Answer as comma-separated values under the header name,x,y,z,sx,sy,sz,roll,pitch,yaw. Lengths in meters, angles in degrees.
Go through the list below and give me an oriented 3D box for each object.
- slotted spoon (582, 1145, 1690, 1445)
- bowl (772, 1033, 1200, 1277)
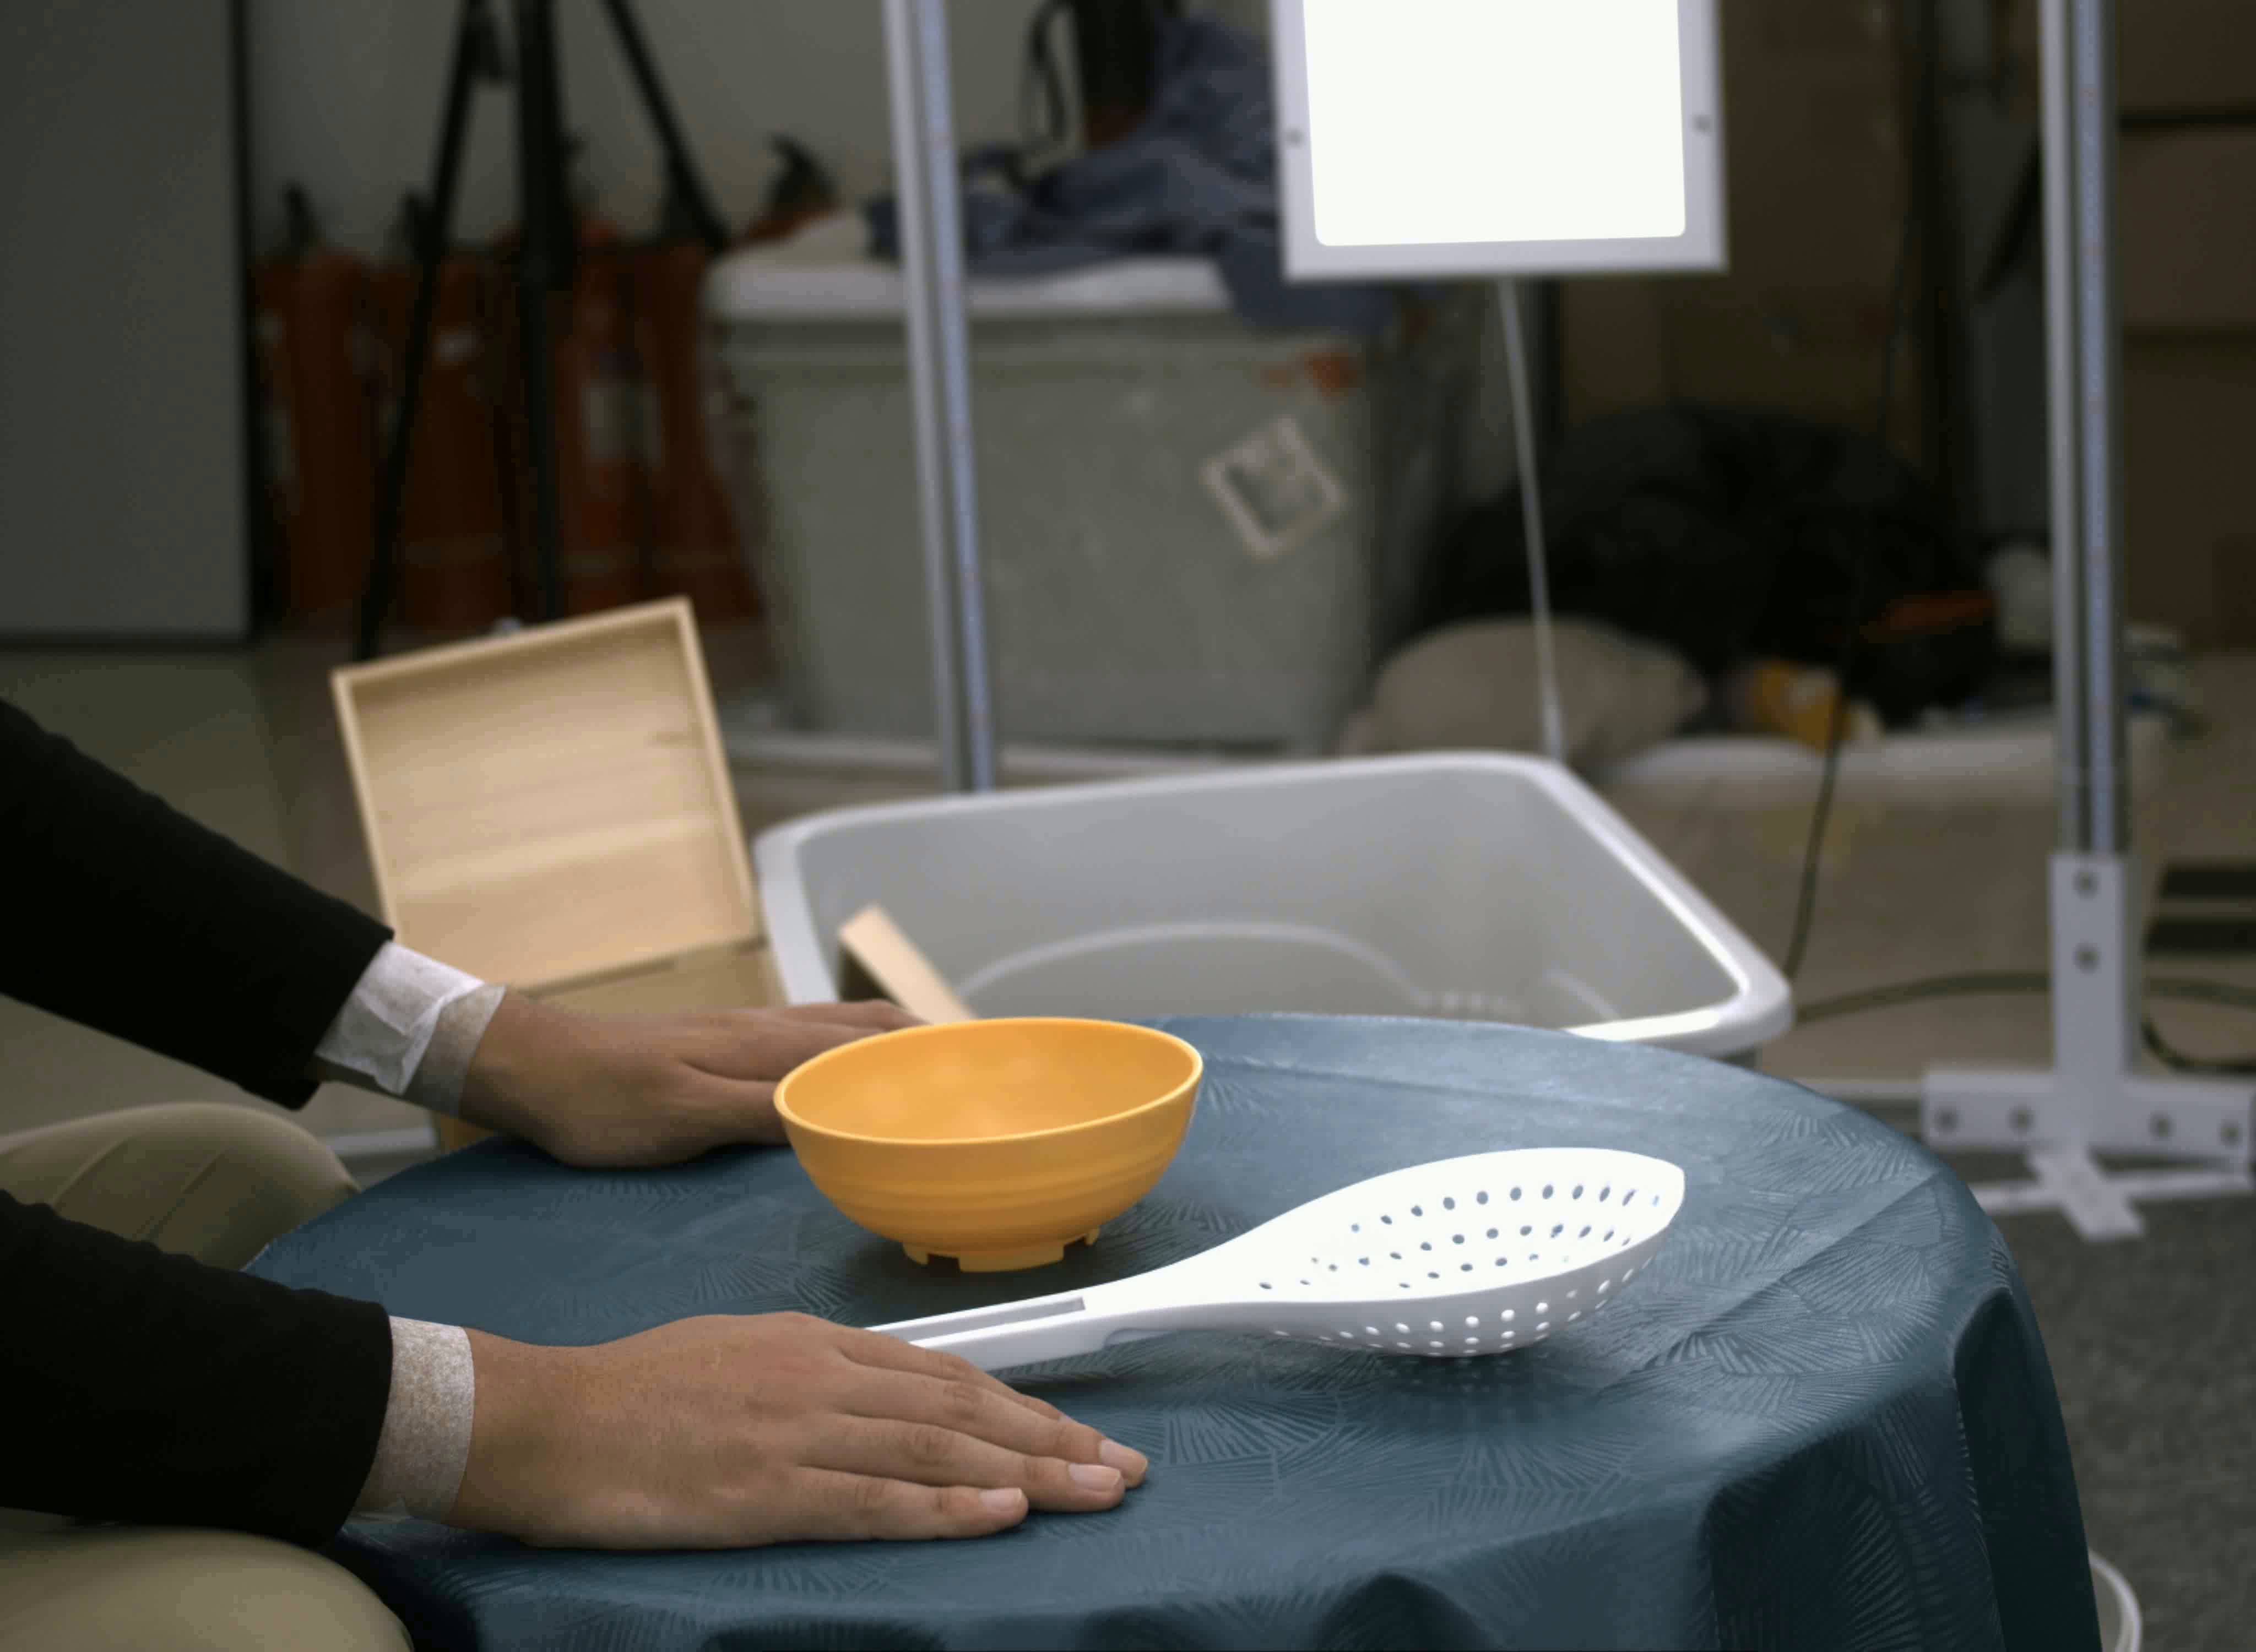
name,x,y,z,sx,sy,sz,roll,pitch,yaw
slotted spoon,0.003,0.149,1.707,0.348,0.046,0.136,-7,13,-2
bowl,-0.046,0.114,1.850,0.145,0.060,0.145,-4,12,0
